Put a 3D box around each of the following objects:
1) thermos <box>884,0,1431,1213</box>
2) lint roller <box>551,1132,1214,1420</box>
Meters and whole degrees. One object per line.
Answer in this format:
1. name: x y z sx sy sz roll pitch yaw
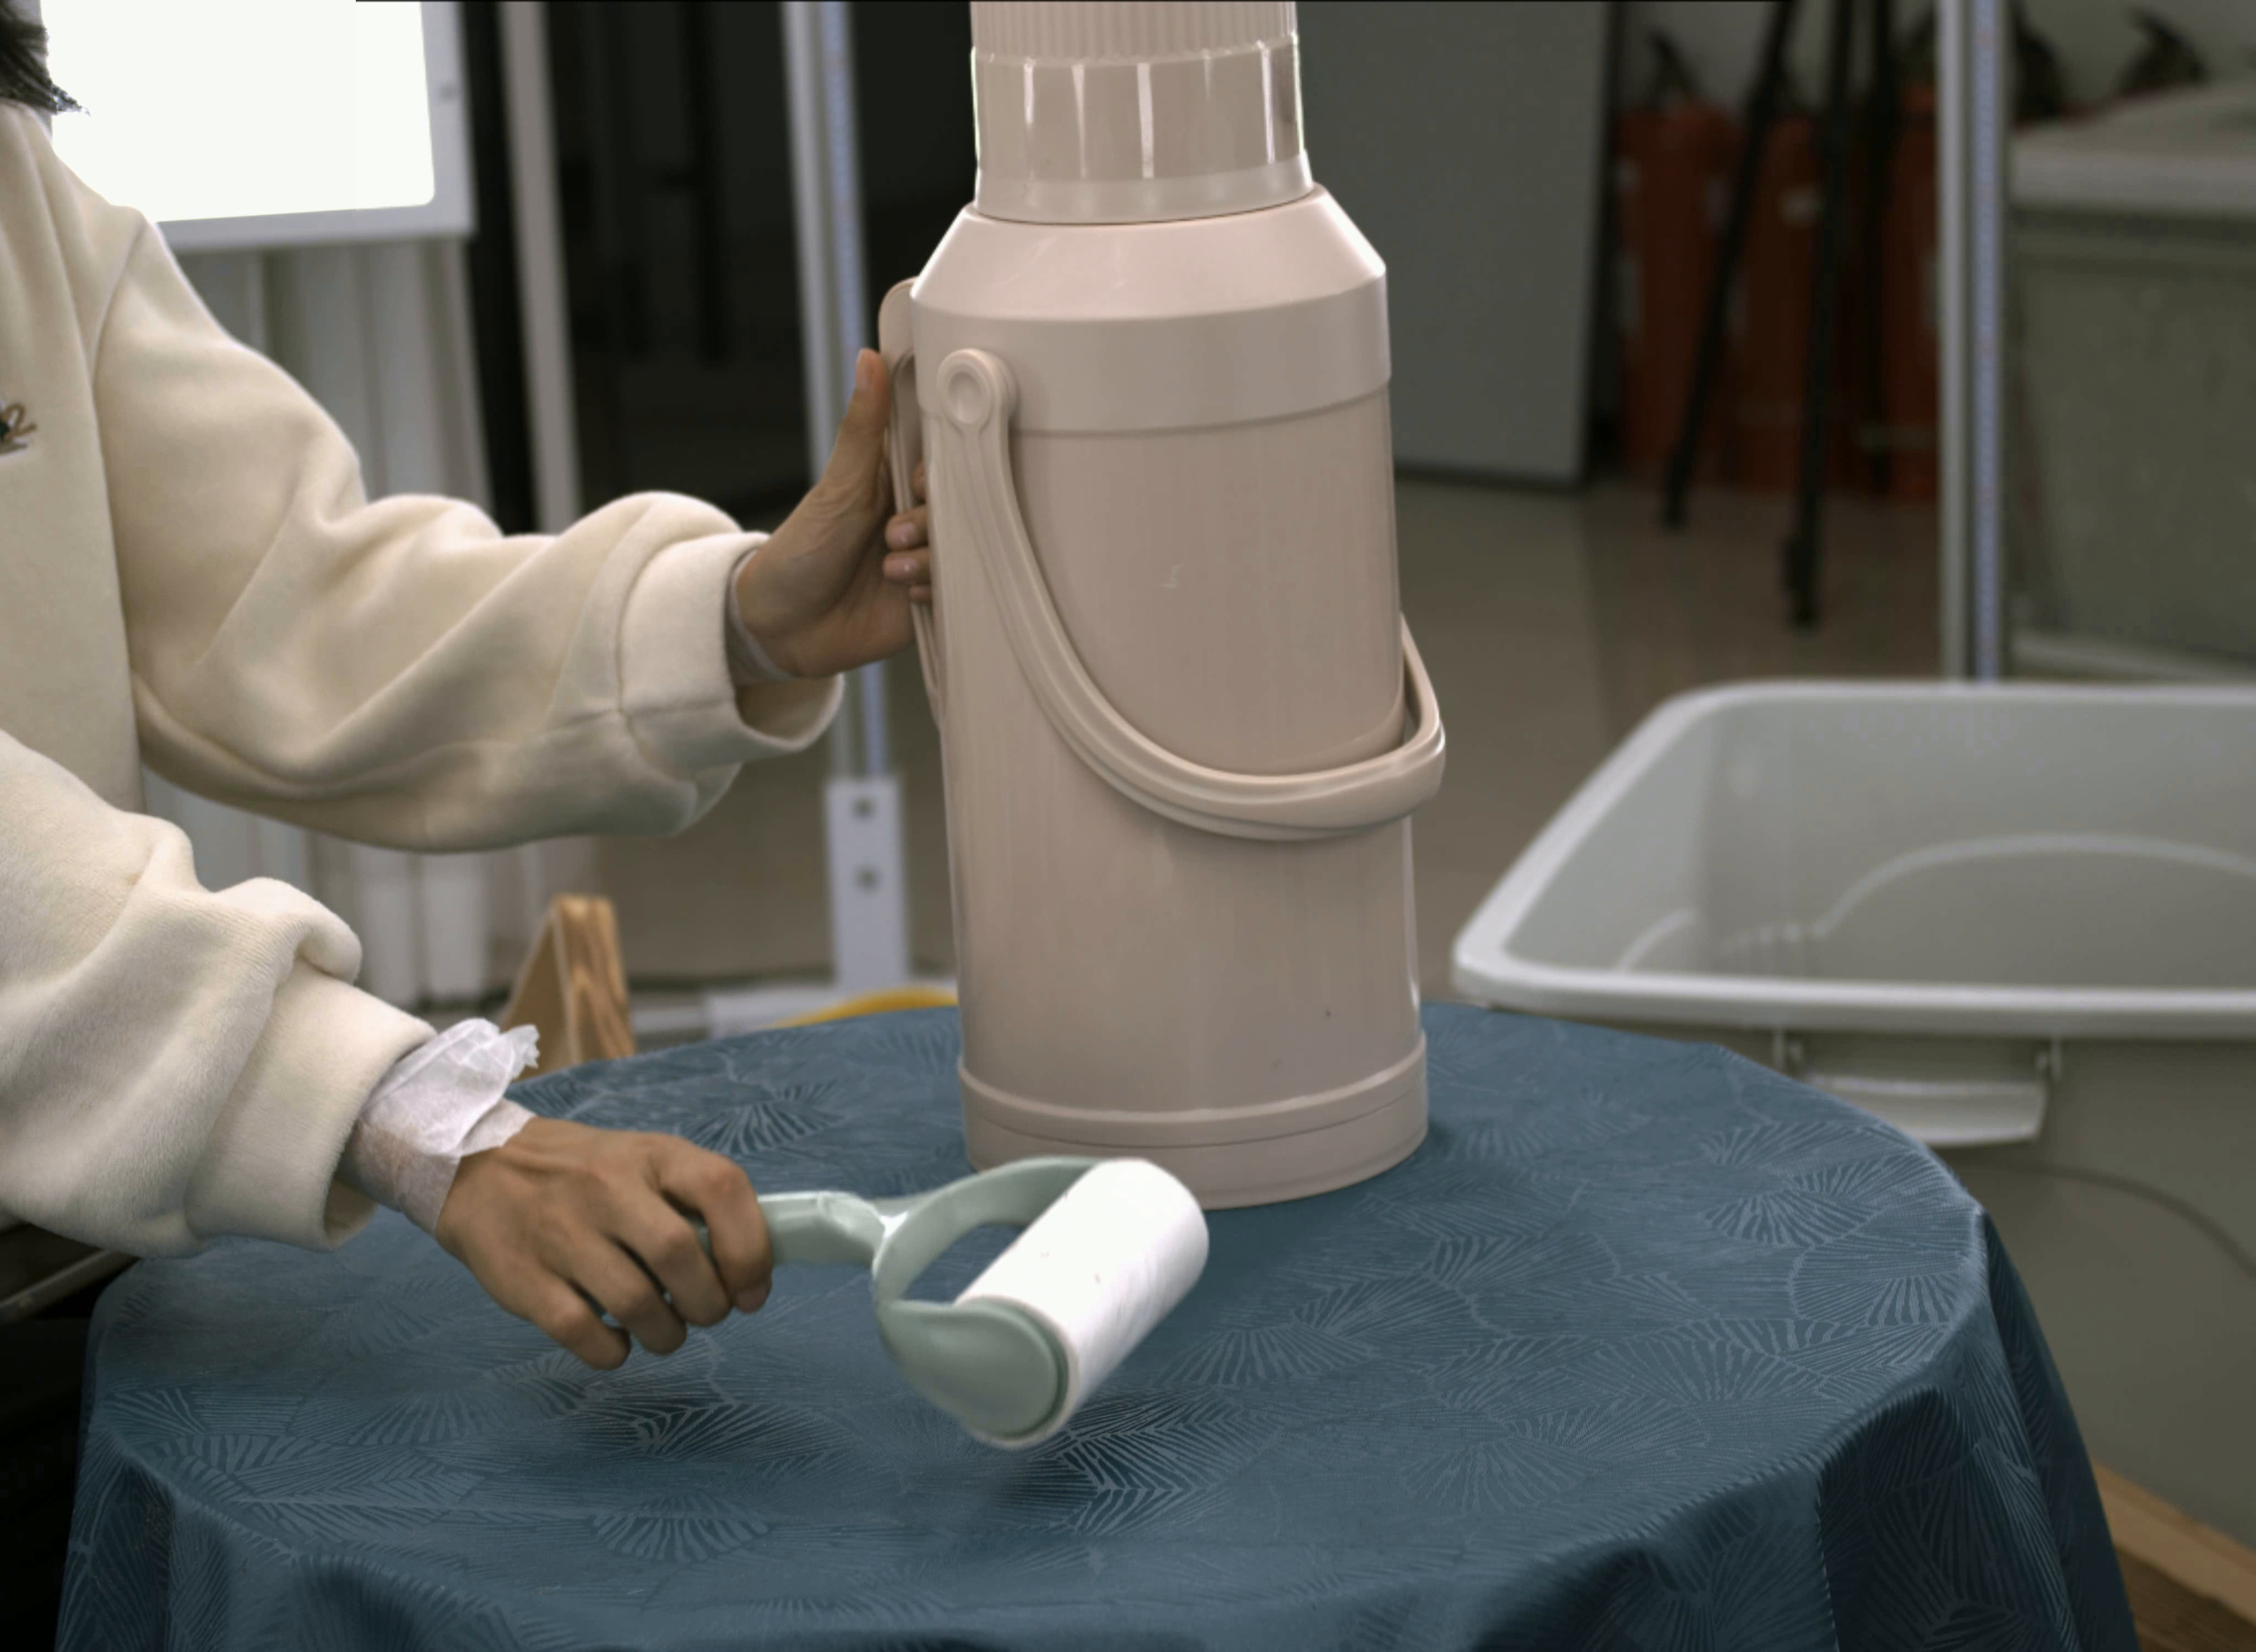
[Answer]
1. thermos: 0.003 -0.088 1.784 0.209 0.411 0.172 9 19 44
2. lint roller: -0.080 0.125 1.572 0.198 0.049 0.115 3 21 24
